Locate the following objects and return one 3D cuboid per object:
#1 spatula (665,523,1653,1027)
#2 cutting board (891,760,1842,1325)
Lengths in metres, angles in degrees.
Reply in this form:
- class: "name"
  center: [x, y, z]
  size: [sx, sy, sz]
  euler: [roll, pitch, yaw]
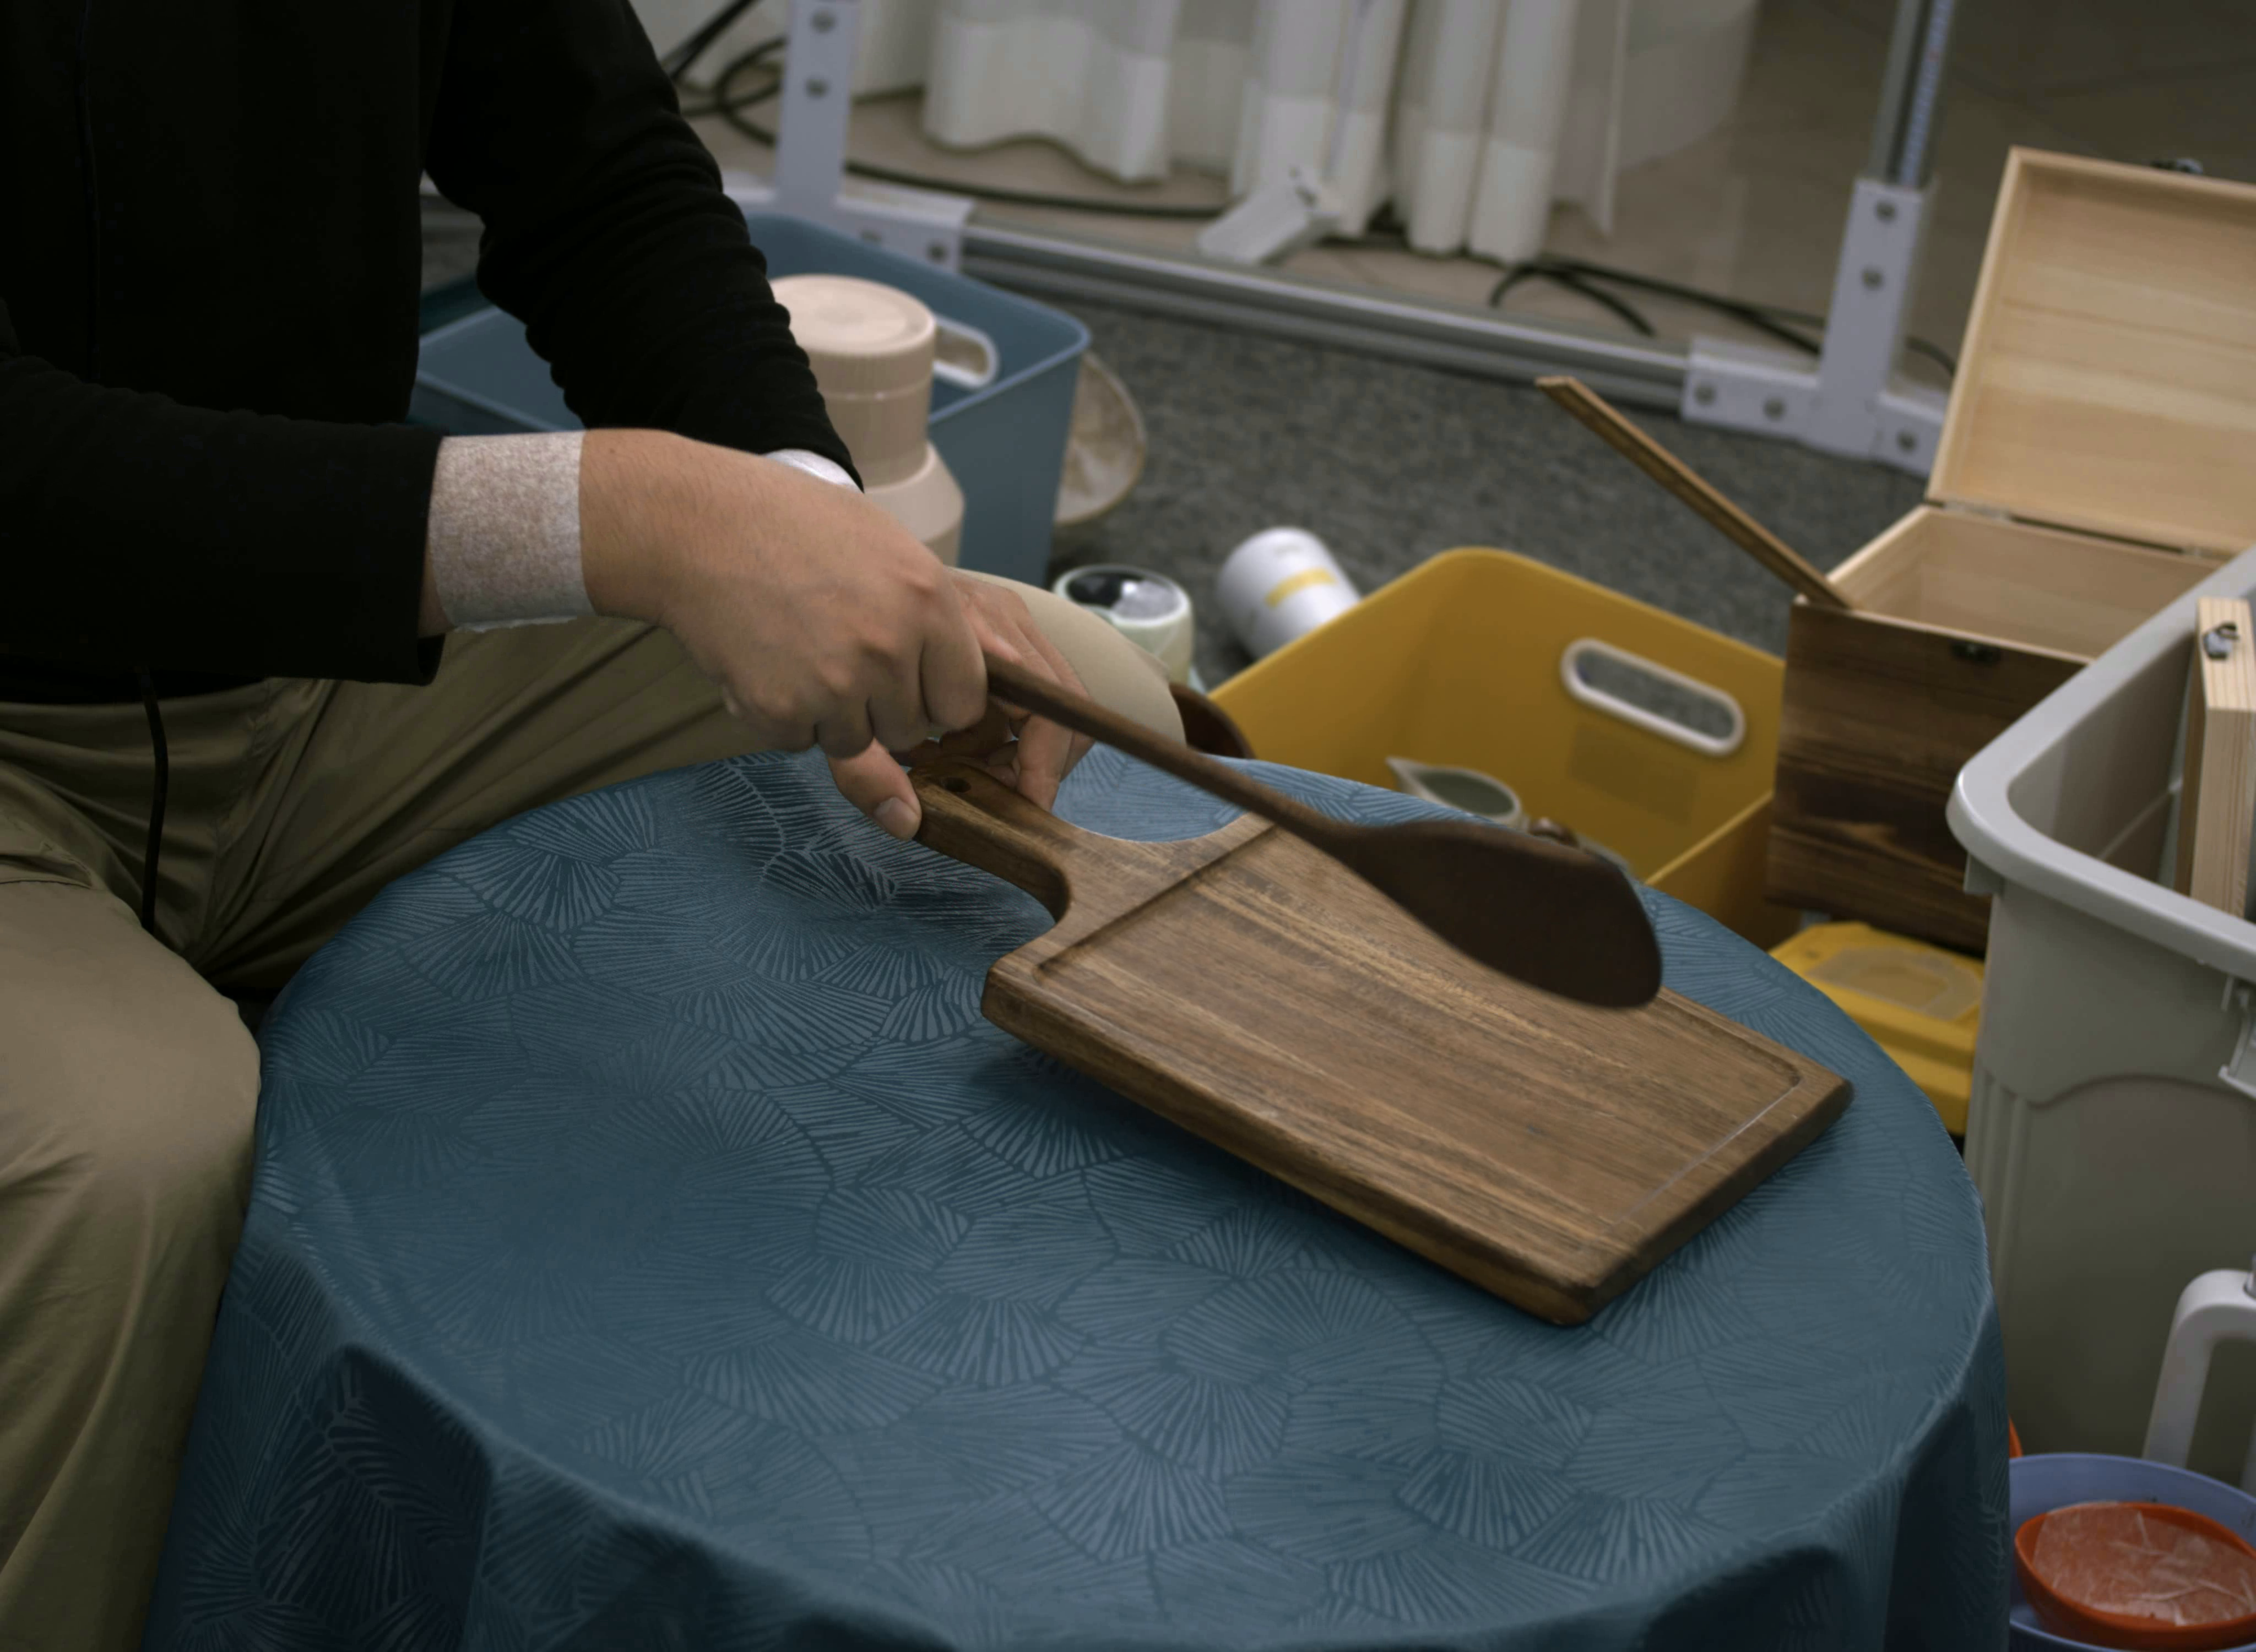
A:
- class: "spatula"
  center: [0.004, -0.026, 1.754]
  size: [0.388, 0.095, 0.016]
  euler: [25, 65, 25]
- class: "cutting board"
  center: [0.061, 0.057, 1.892]
  size: [0.354, 0.023, 0.200]
  euler: [27, 32, 25]
